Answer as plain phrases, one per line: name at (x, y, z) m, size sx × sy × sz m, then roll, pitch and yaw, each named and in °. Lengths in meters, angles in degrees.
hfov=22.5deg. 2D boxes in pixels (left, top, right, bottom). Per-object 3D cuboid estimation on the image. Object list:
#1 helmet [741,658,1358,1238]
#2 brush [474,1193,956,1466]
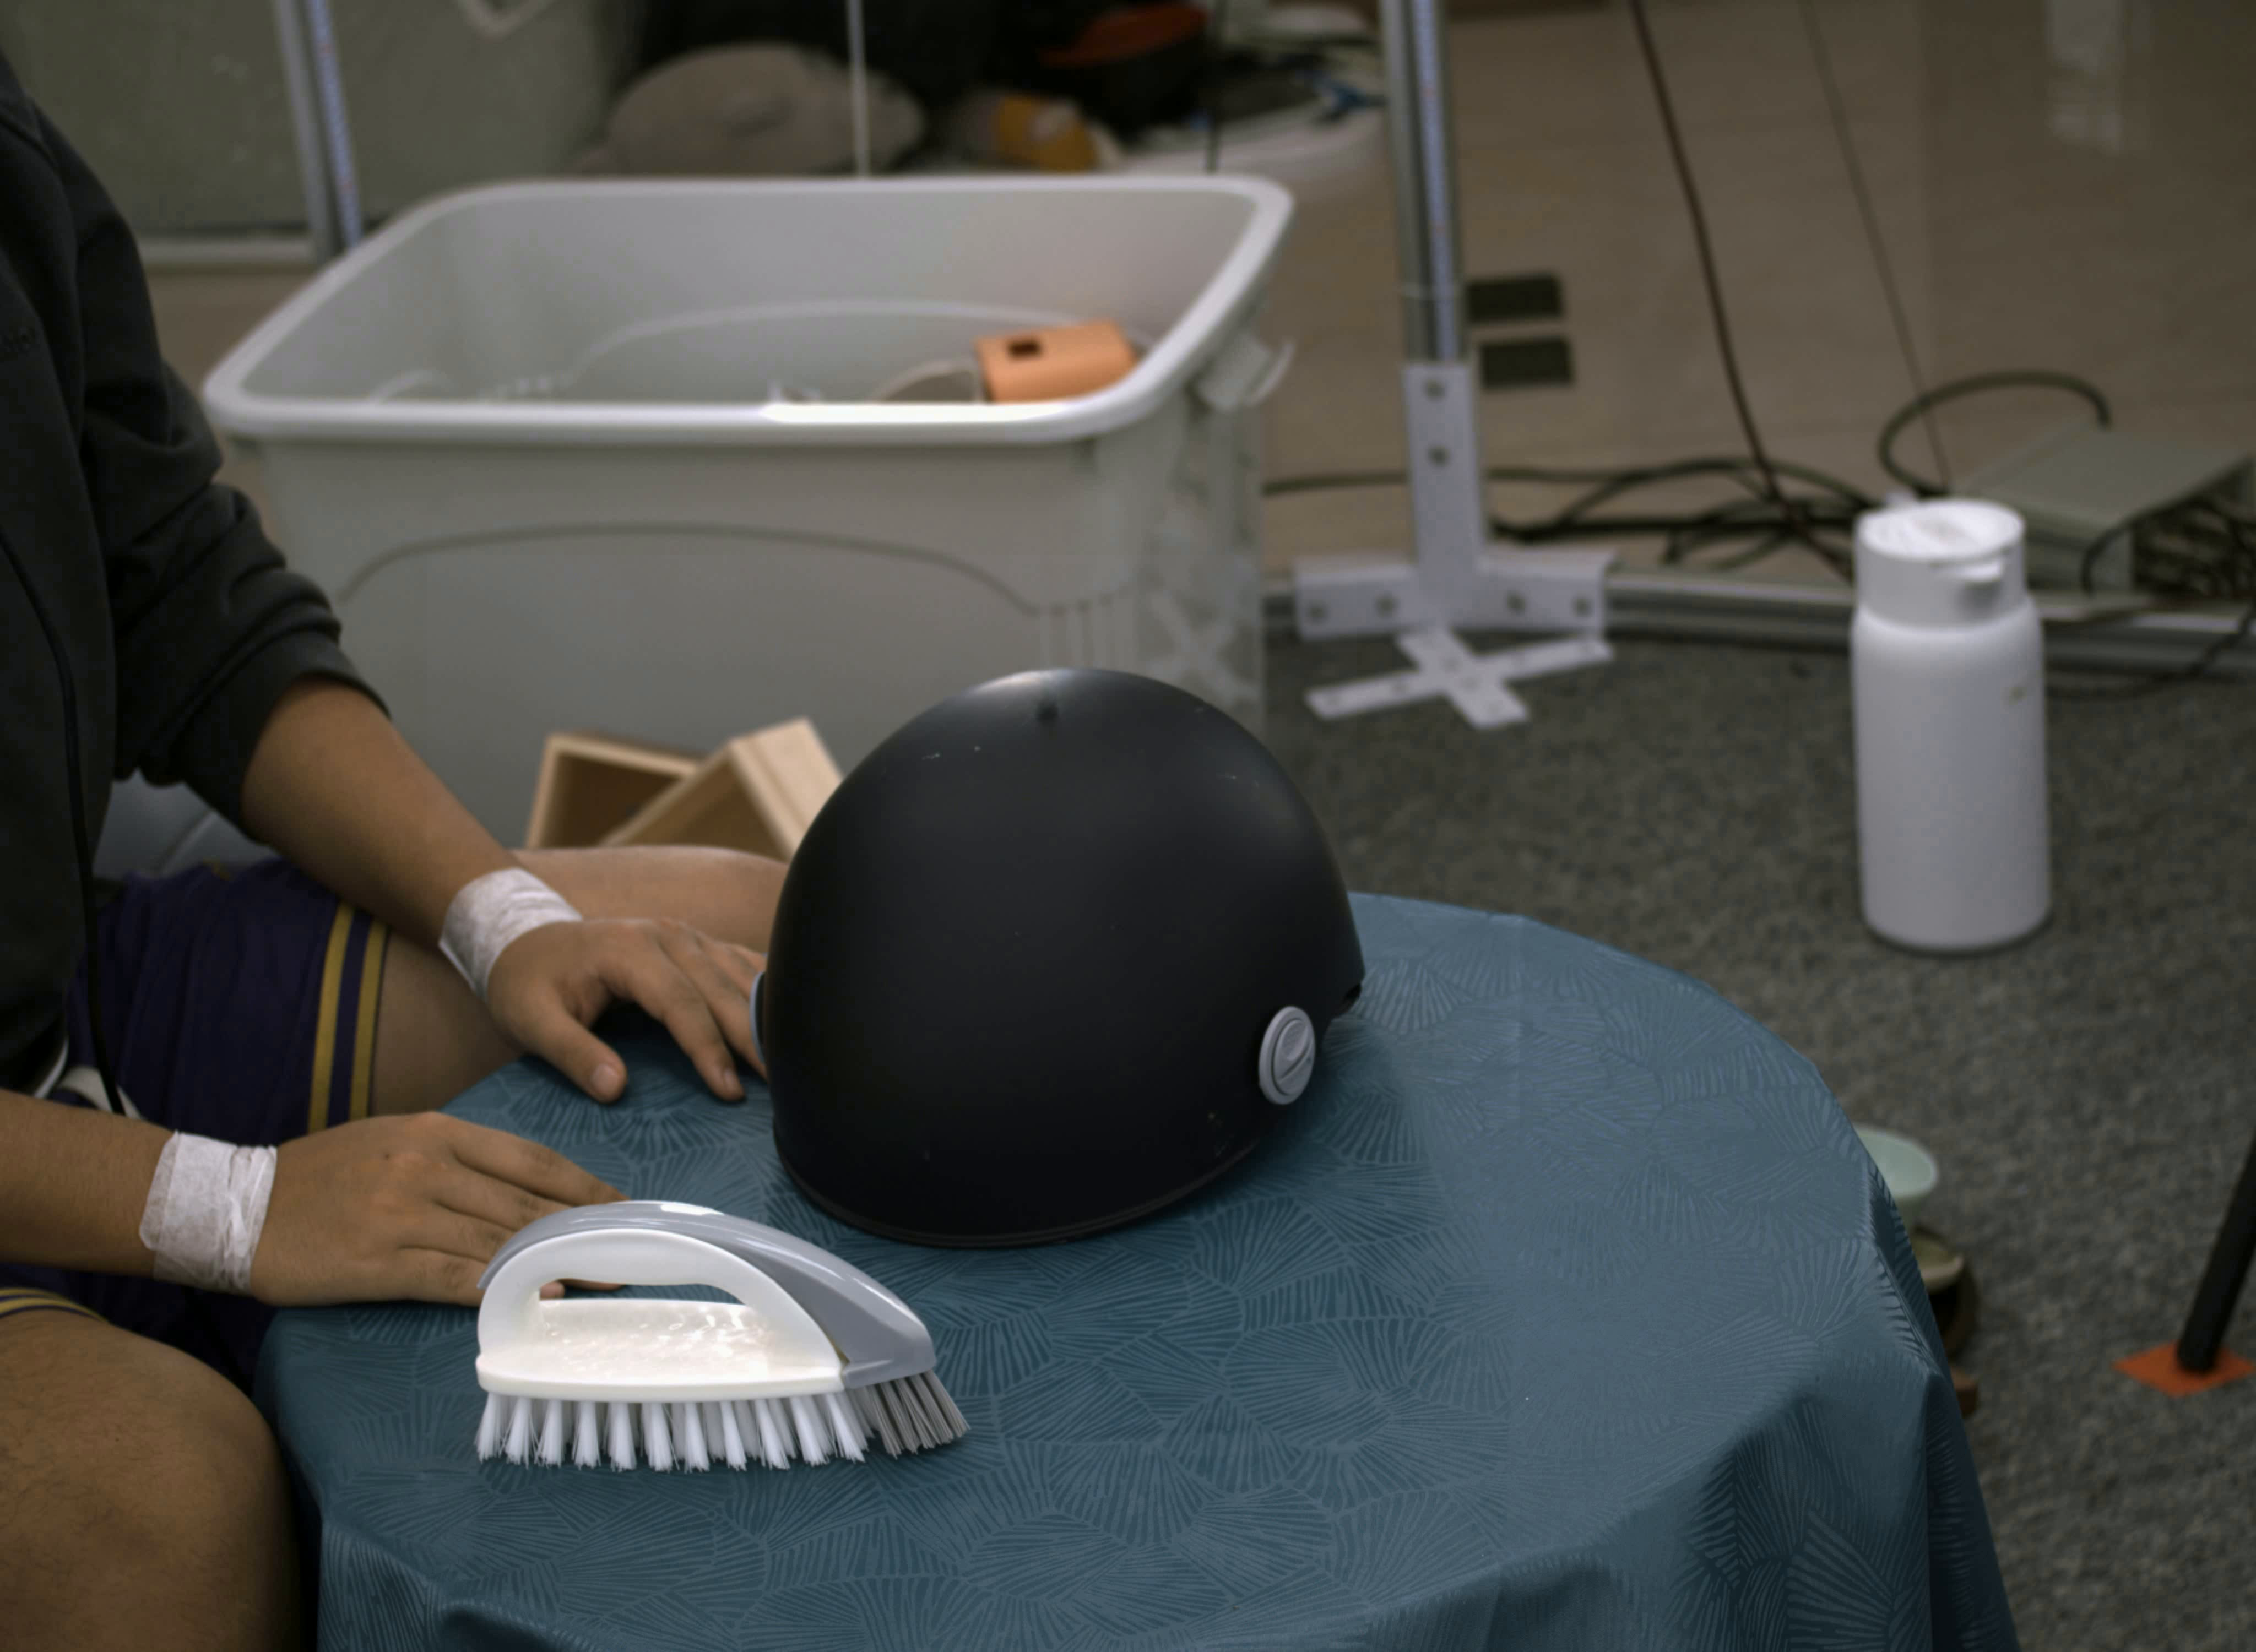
helmet at (-0.034, 0.030, 2.197) m, size 0.229 × 0.169 × 0.269 m, roll 4°, pitch 29°, yaw 23°
brush at (-0.148, 0.174, 2.000) m, size 0.175 × 0.096 × 0.060 m, roll 3°, pitch 28°, yaw 15°
